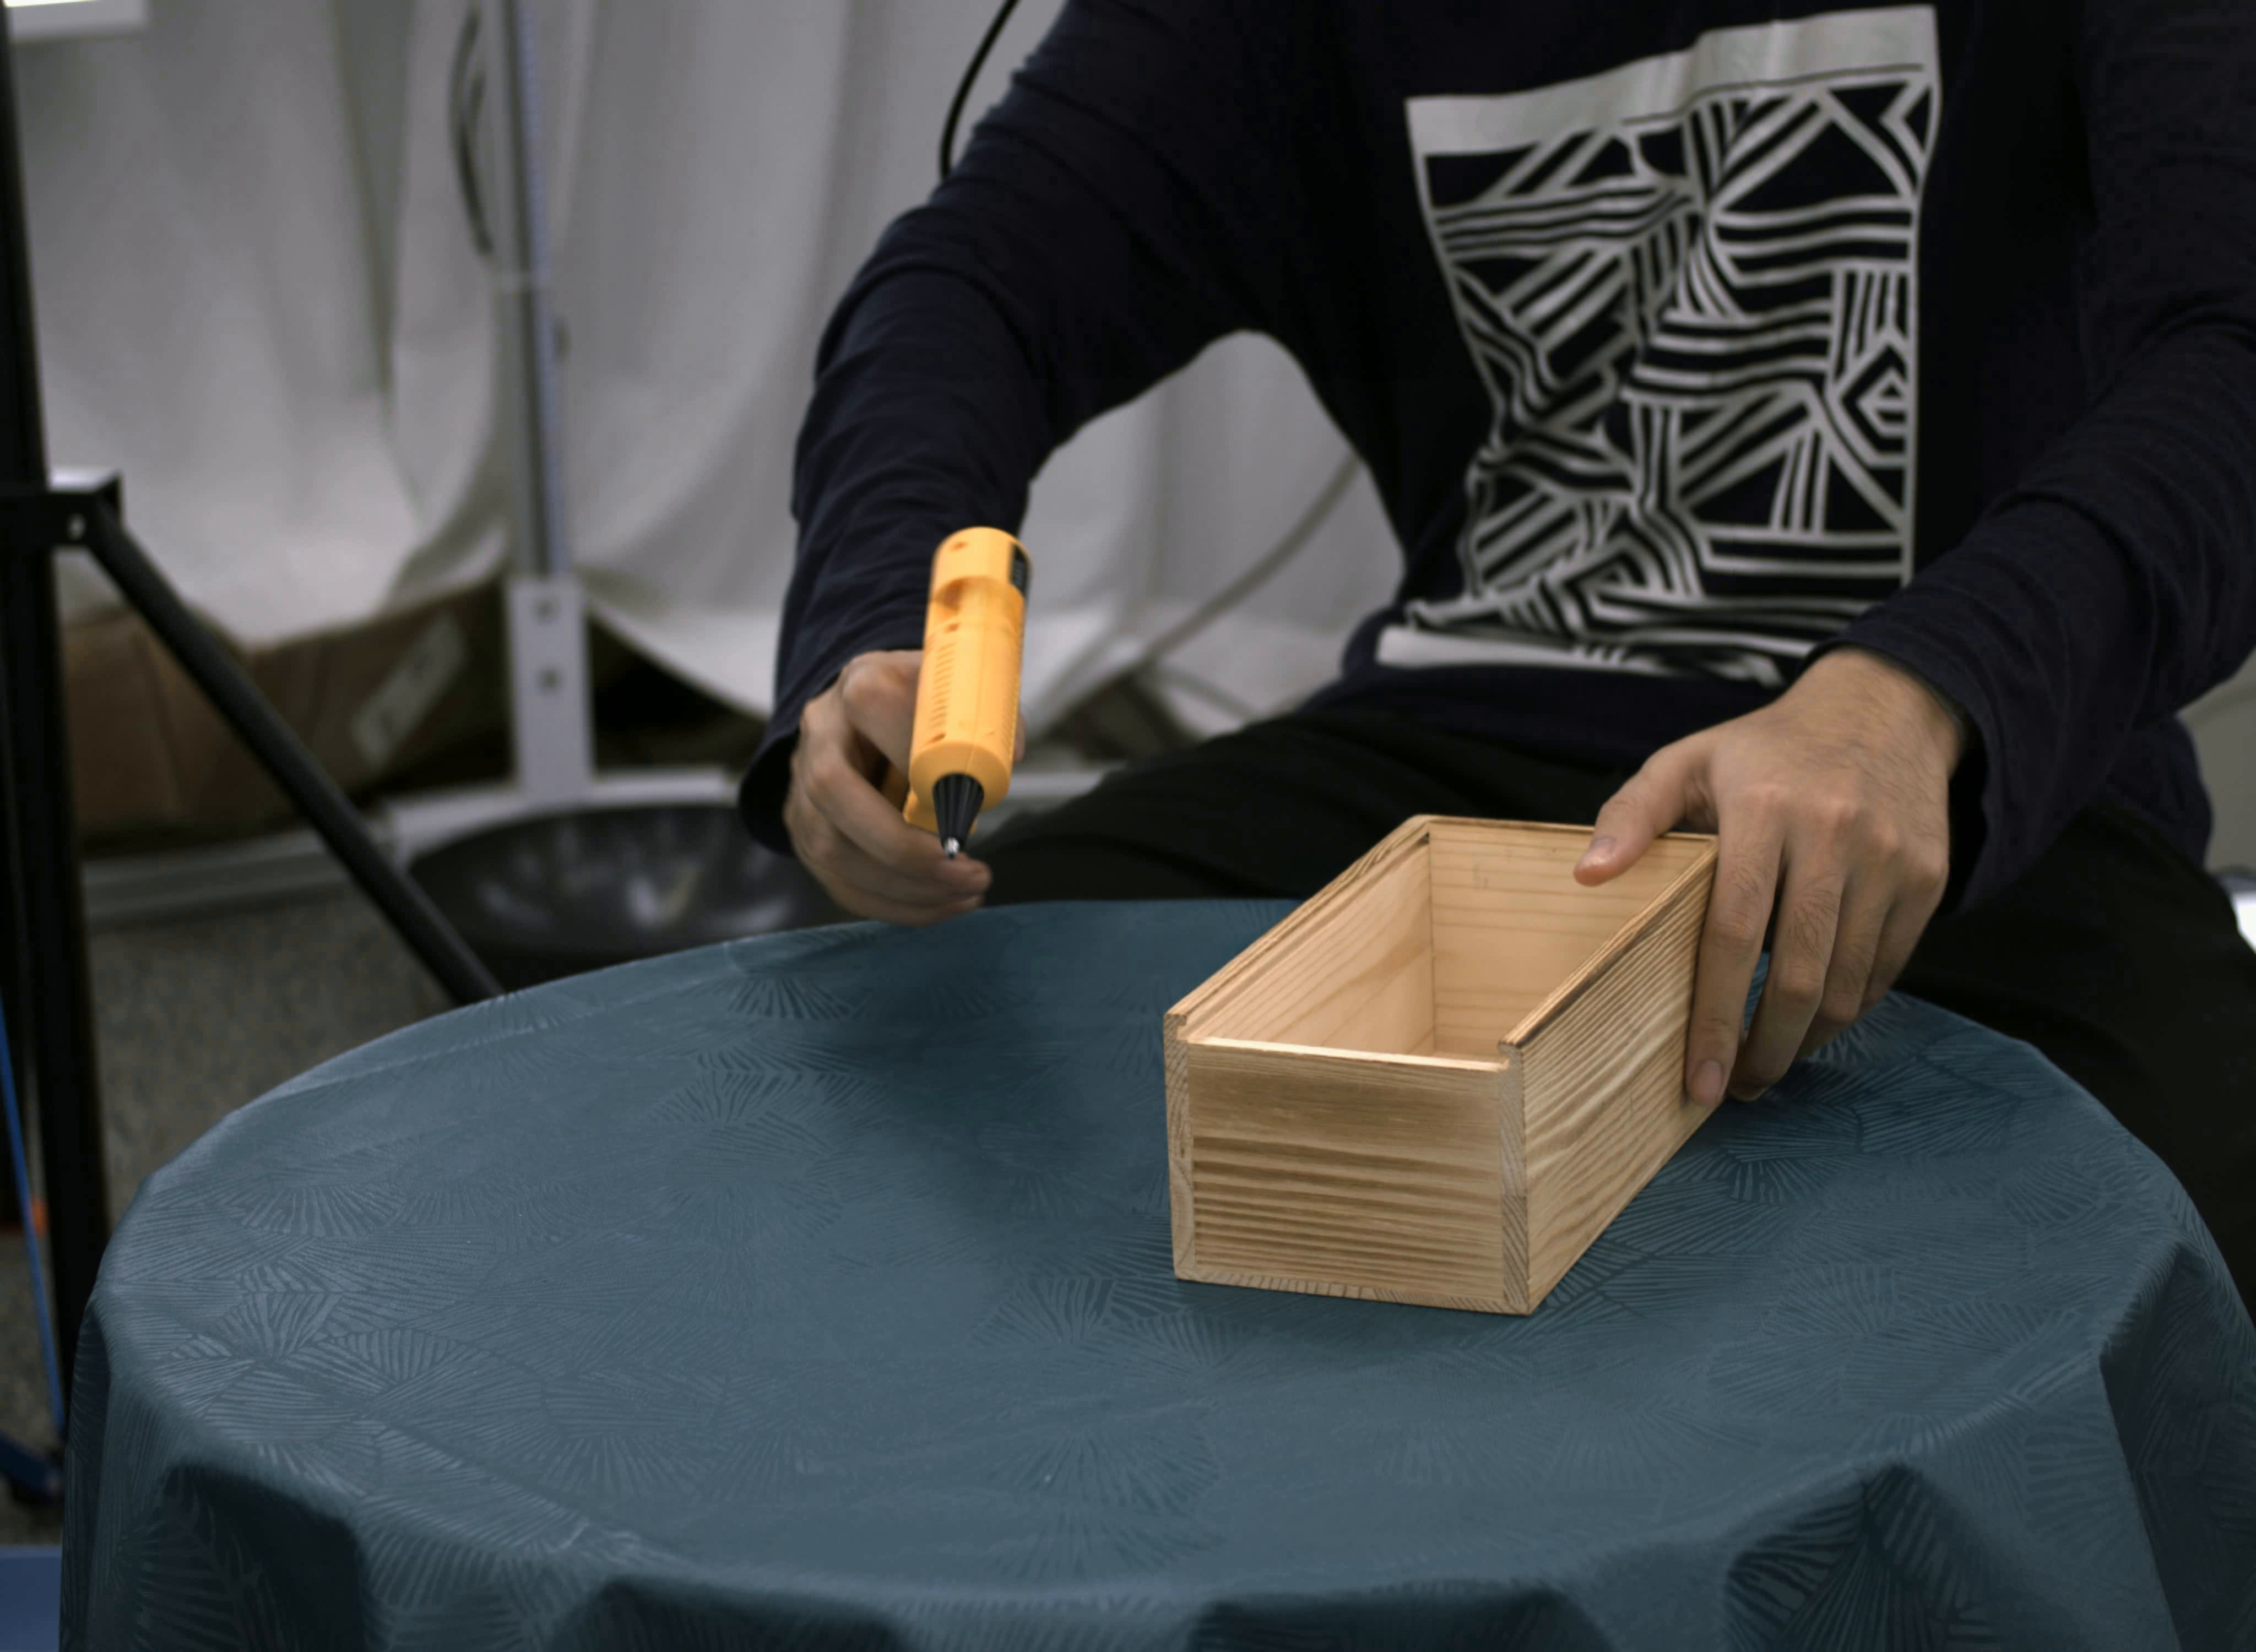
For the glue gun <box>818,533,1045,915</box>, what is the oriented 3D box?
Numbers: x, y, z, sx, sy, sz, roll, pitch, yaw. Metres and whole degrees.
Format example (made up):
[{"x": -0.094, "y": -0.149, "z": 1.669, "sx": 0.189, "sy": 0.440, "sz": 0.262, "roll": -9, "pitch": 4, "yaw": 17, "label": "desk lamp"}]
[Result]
[{"x": -0.066, "y": -0.003, "z": 1.640, "sx": 0.031, "sy": 0.134, "sz": 0.152, "roll": 23, "pitch": 30, "yaw": -10, "label": "glue gun"}]

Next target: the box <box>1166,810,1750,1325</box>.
[{"x": 0.100, "y": 0.066, "z": 1.543, "sx": 0.109, "sy": 0.080, "sz": 0.208, "roll": 5, "pitch": 18, "yaw": 23, "label": "box"}]
